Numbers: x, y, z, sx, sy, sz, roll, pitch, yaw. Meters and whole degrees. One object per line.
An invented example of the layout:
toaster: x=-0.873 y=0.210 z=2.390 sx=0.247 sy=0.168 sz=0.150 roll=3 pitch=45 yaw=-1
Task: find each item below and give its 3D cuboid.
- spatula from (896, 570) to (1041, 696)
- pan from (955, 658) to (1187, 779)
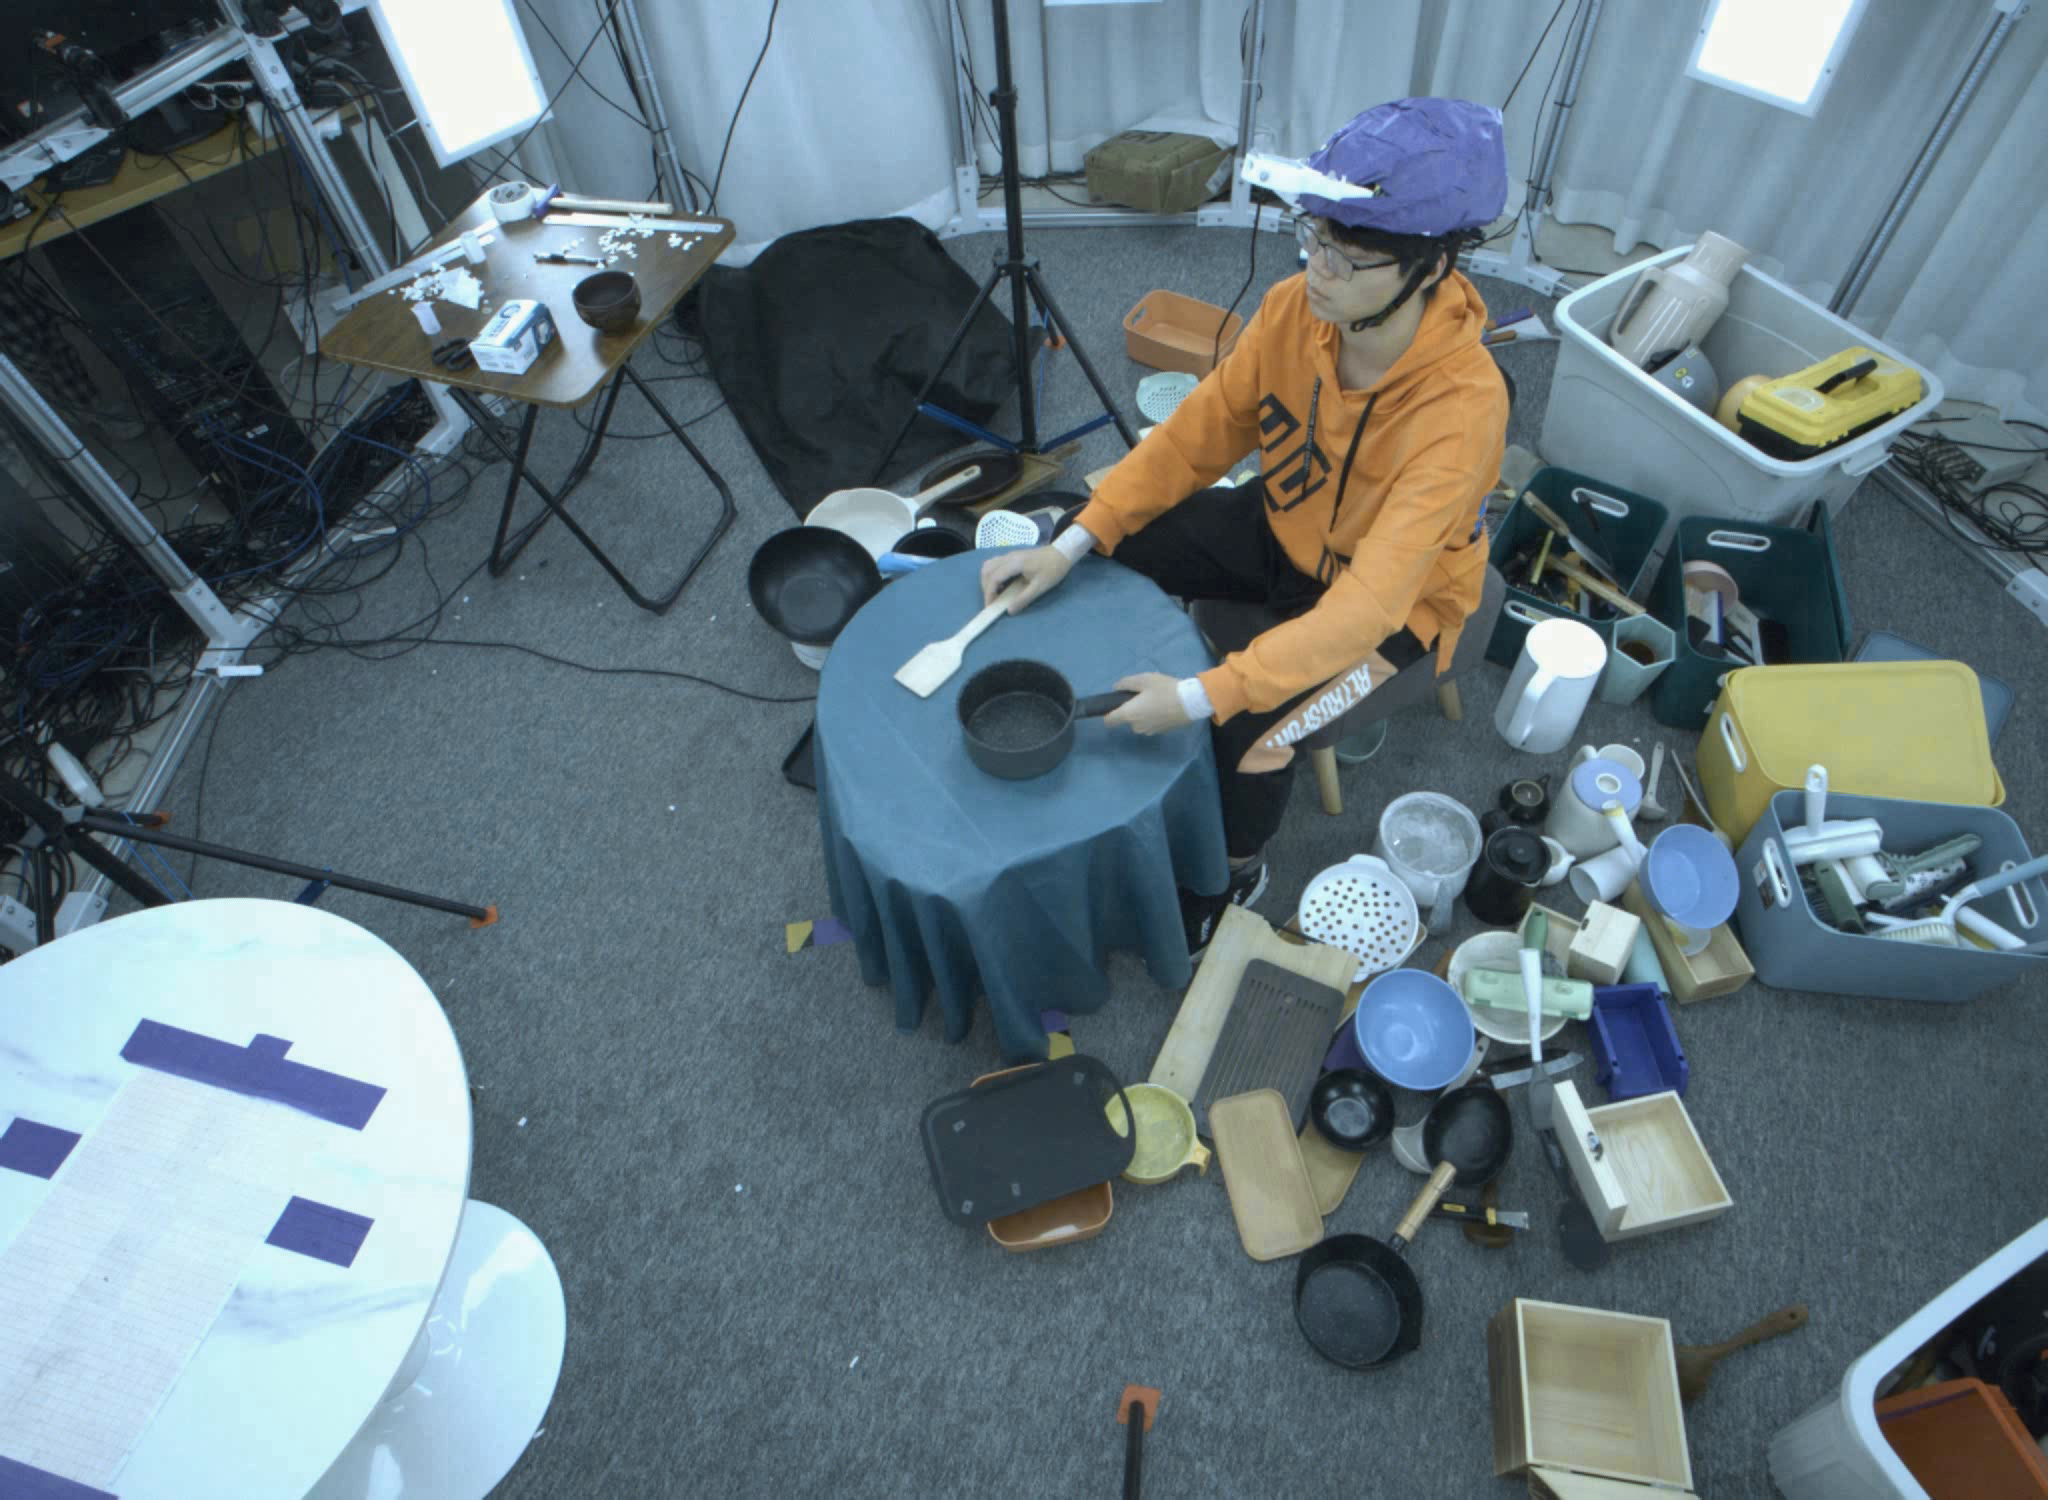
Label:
spatula: x=-0.078 y=-0.191 z=1.914 sx=0.071 sy=0.011 sz=0.294 roll=34 pitch=65 yaw=26
pan: x=0.069 y=-0.049 z=1.767 sx=0.328 sy=0.087 sz=0.170 roll=-3 pitch=55 yaw=2
